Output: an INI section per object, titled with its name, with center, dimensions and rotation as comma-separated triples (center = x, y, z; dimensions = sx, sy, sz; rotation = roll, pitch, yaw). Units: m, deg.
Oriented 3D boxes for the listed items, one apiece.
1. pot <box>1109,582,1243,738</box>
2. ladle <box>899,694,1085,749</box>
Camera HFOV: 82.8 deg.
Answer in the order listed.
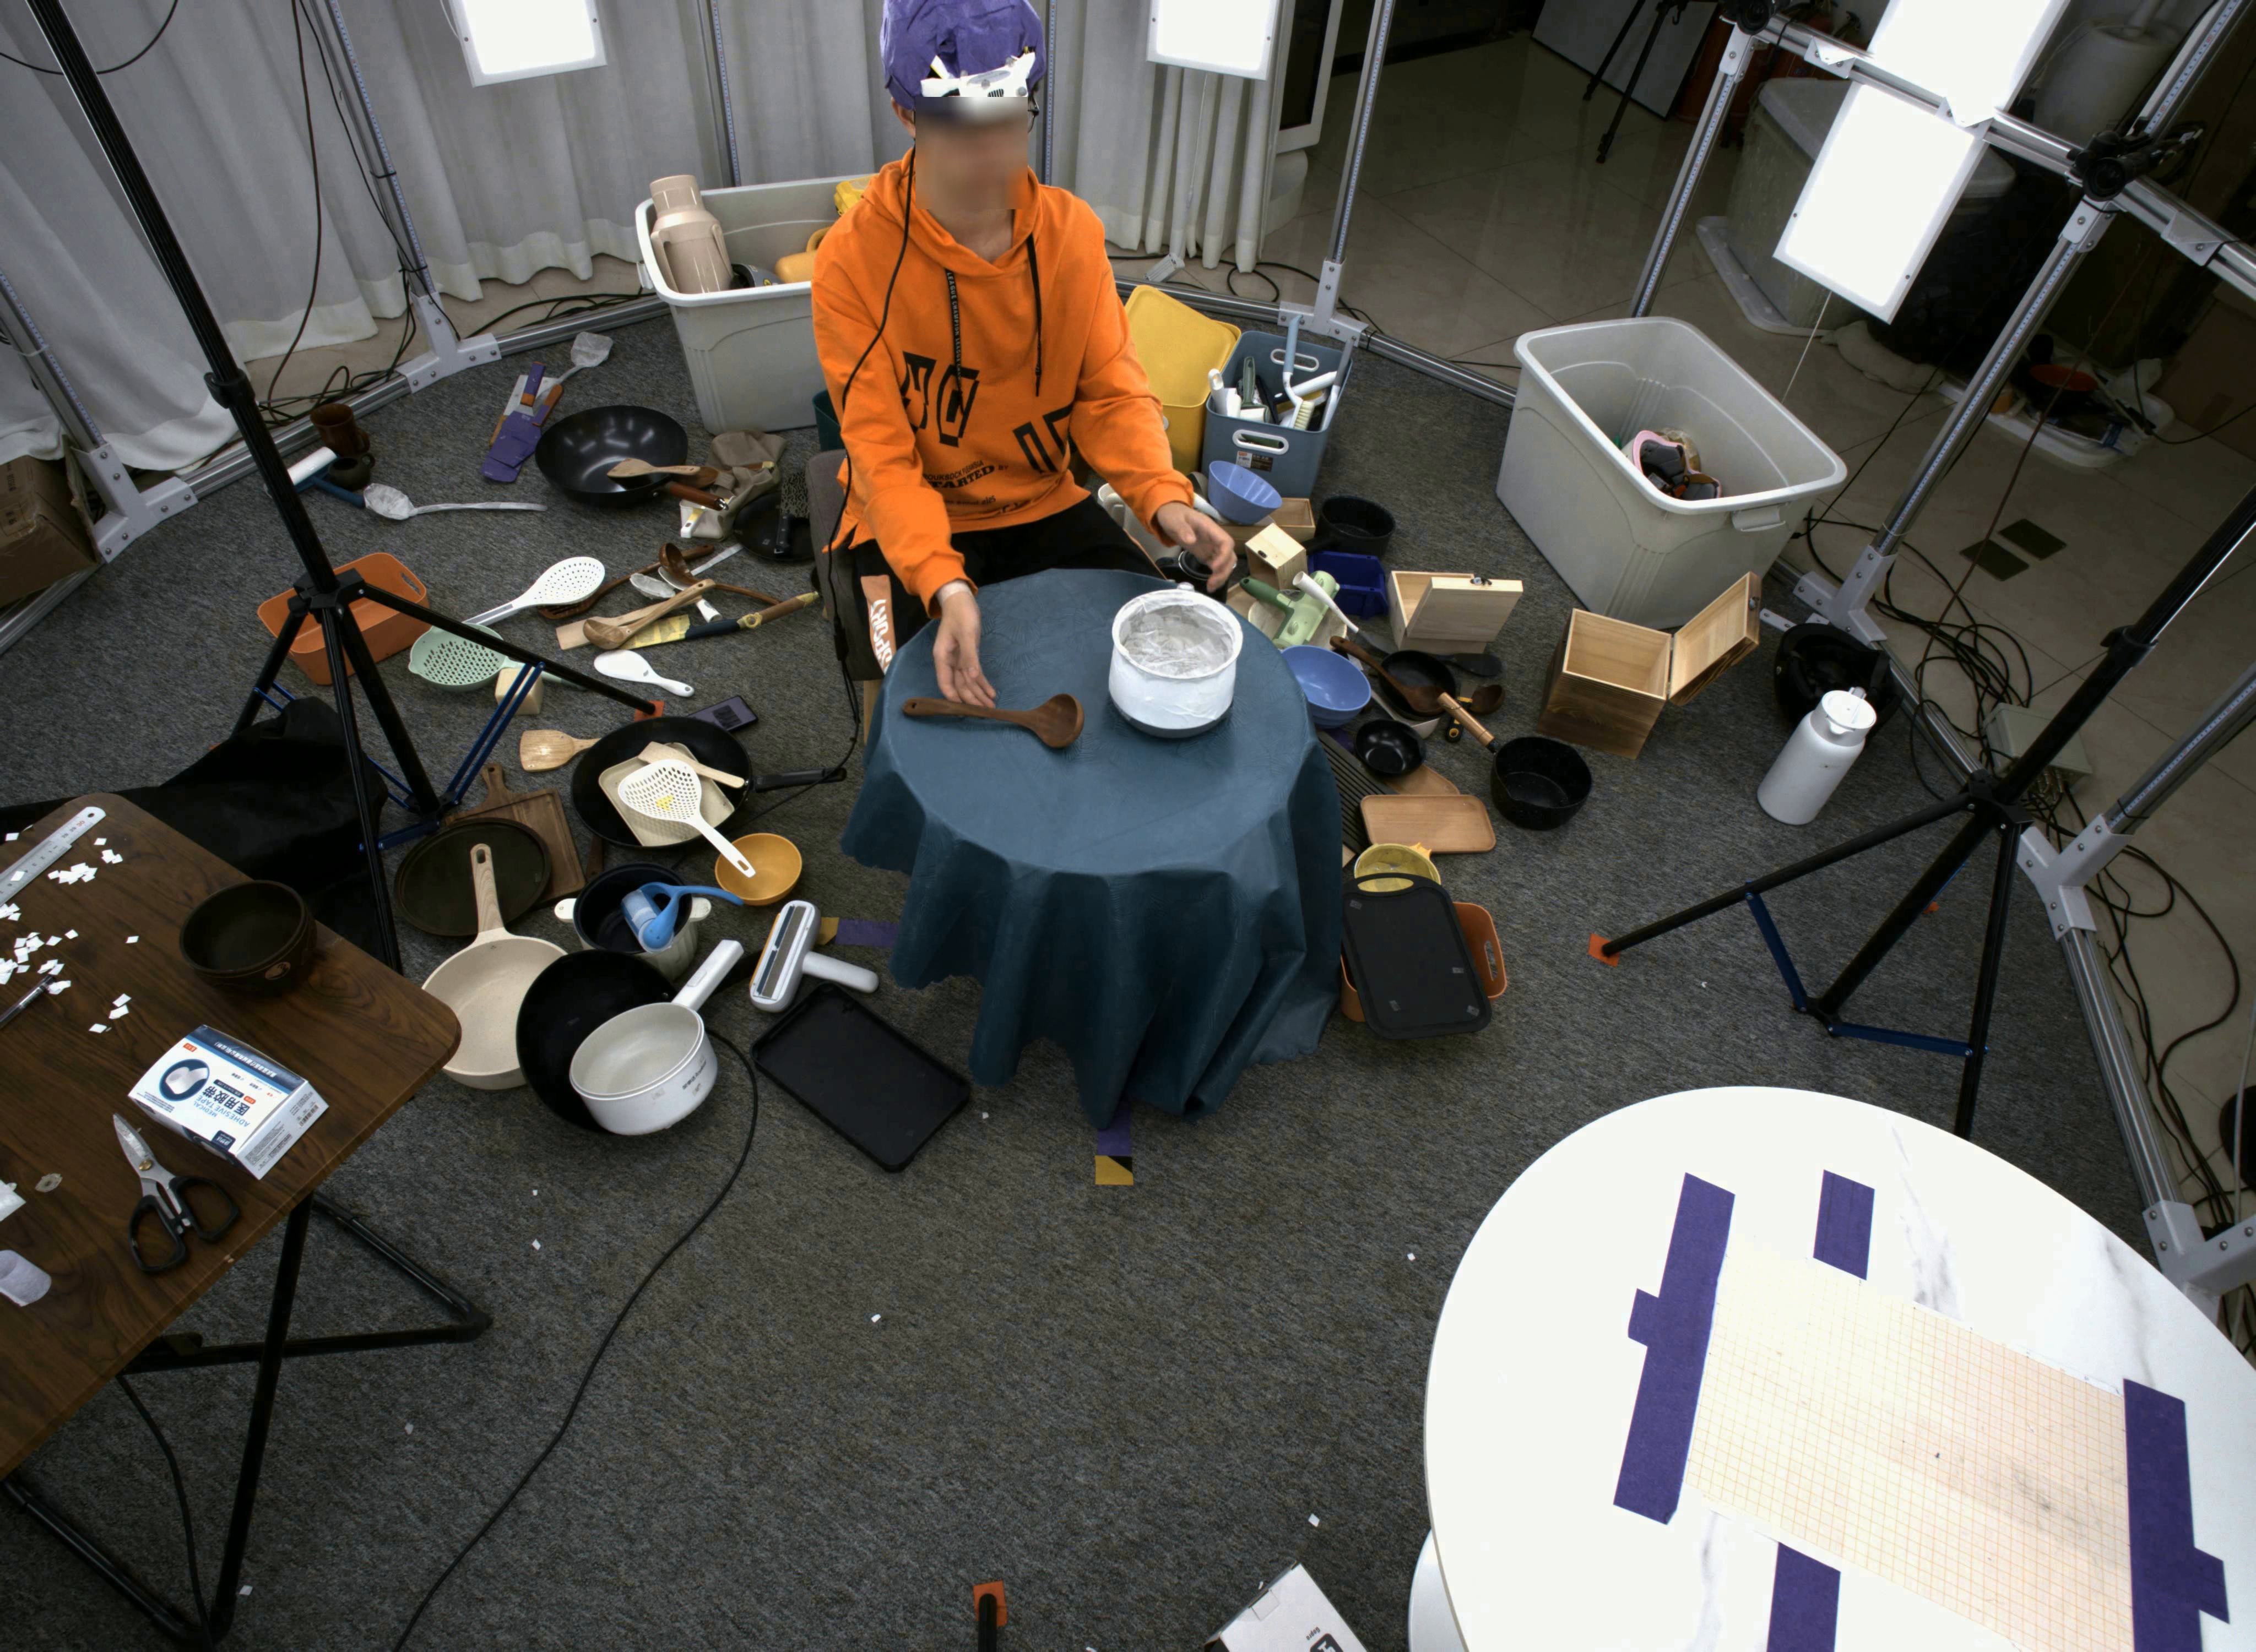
[pot]
center = 0.066, -0.242, 1.794
dimensions = 0.179, 0.133, 0.239
rotation = 7, 49, 2
[ladle]
center = -0.187, -0.155, 1.752
dimensions = 0.260, 0.064, 0.077
rotation = 8, 74, 2
